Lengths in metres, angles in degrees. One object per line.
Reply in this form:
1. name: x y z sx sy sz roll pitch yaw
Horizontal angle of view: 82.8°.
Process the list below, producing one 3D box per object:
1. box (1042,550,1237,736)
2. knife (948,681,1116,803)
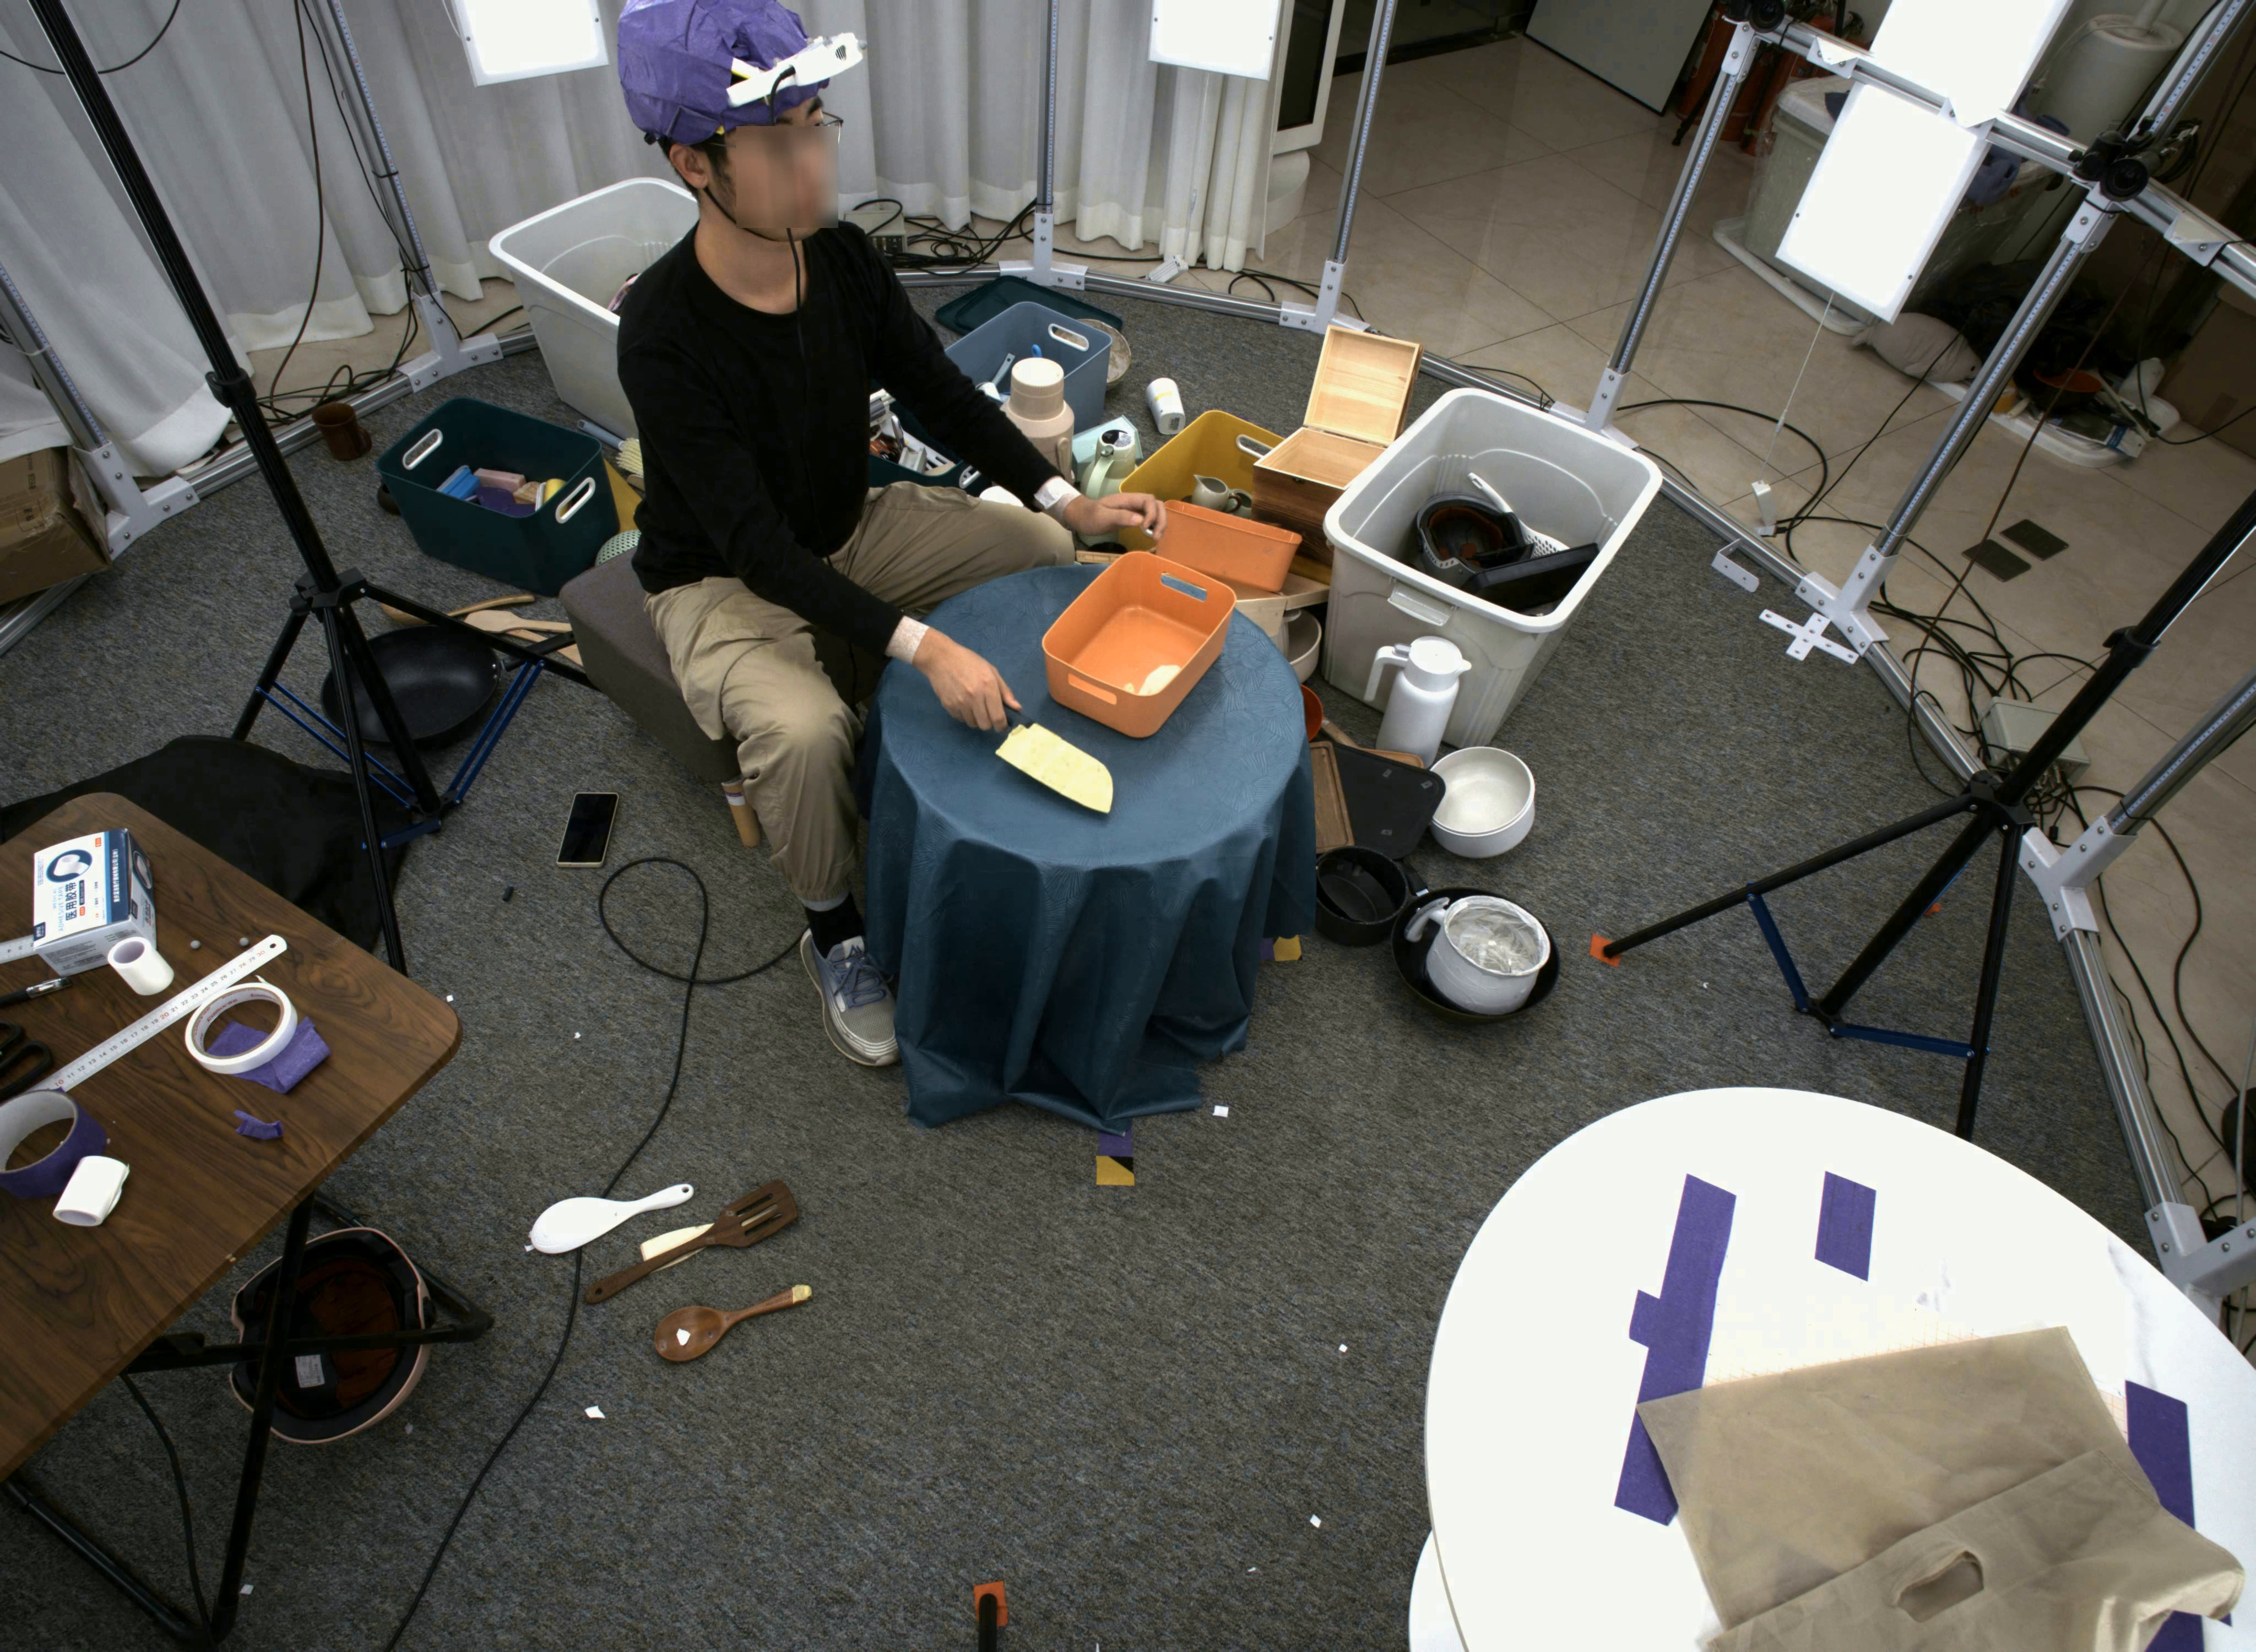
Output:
1. box: 0.014 -0.260 1.829 0.201 0.100 0.277 26 53 17
2. knife: -0.134 -0.112 1.713 0.292 0.026 0.082 33 56 18
